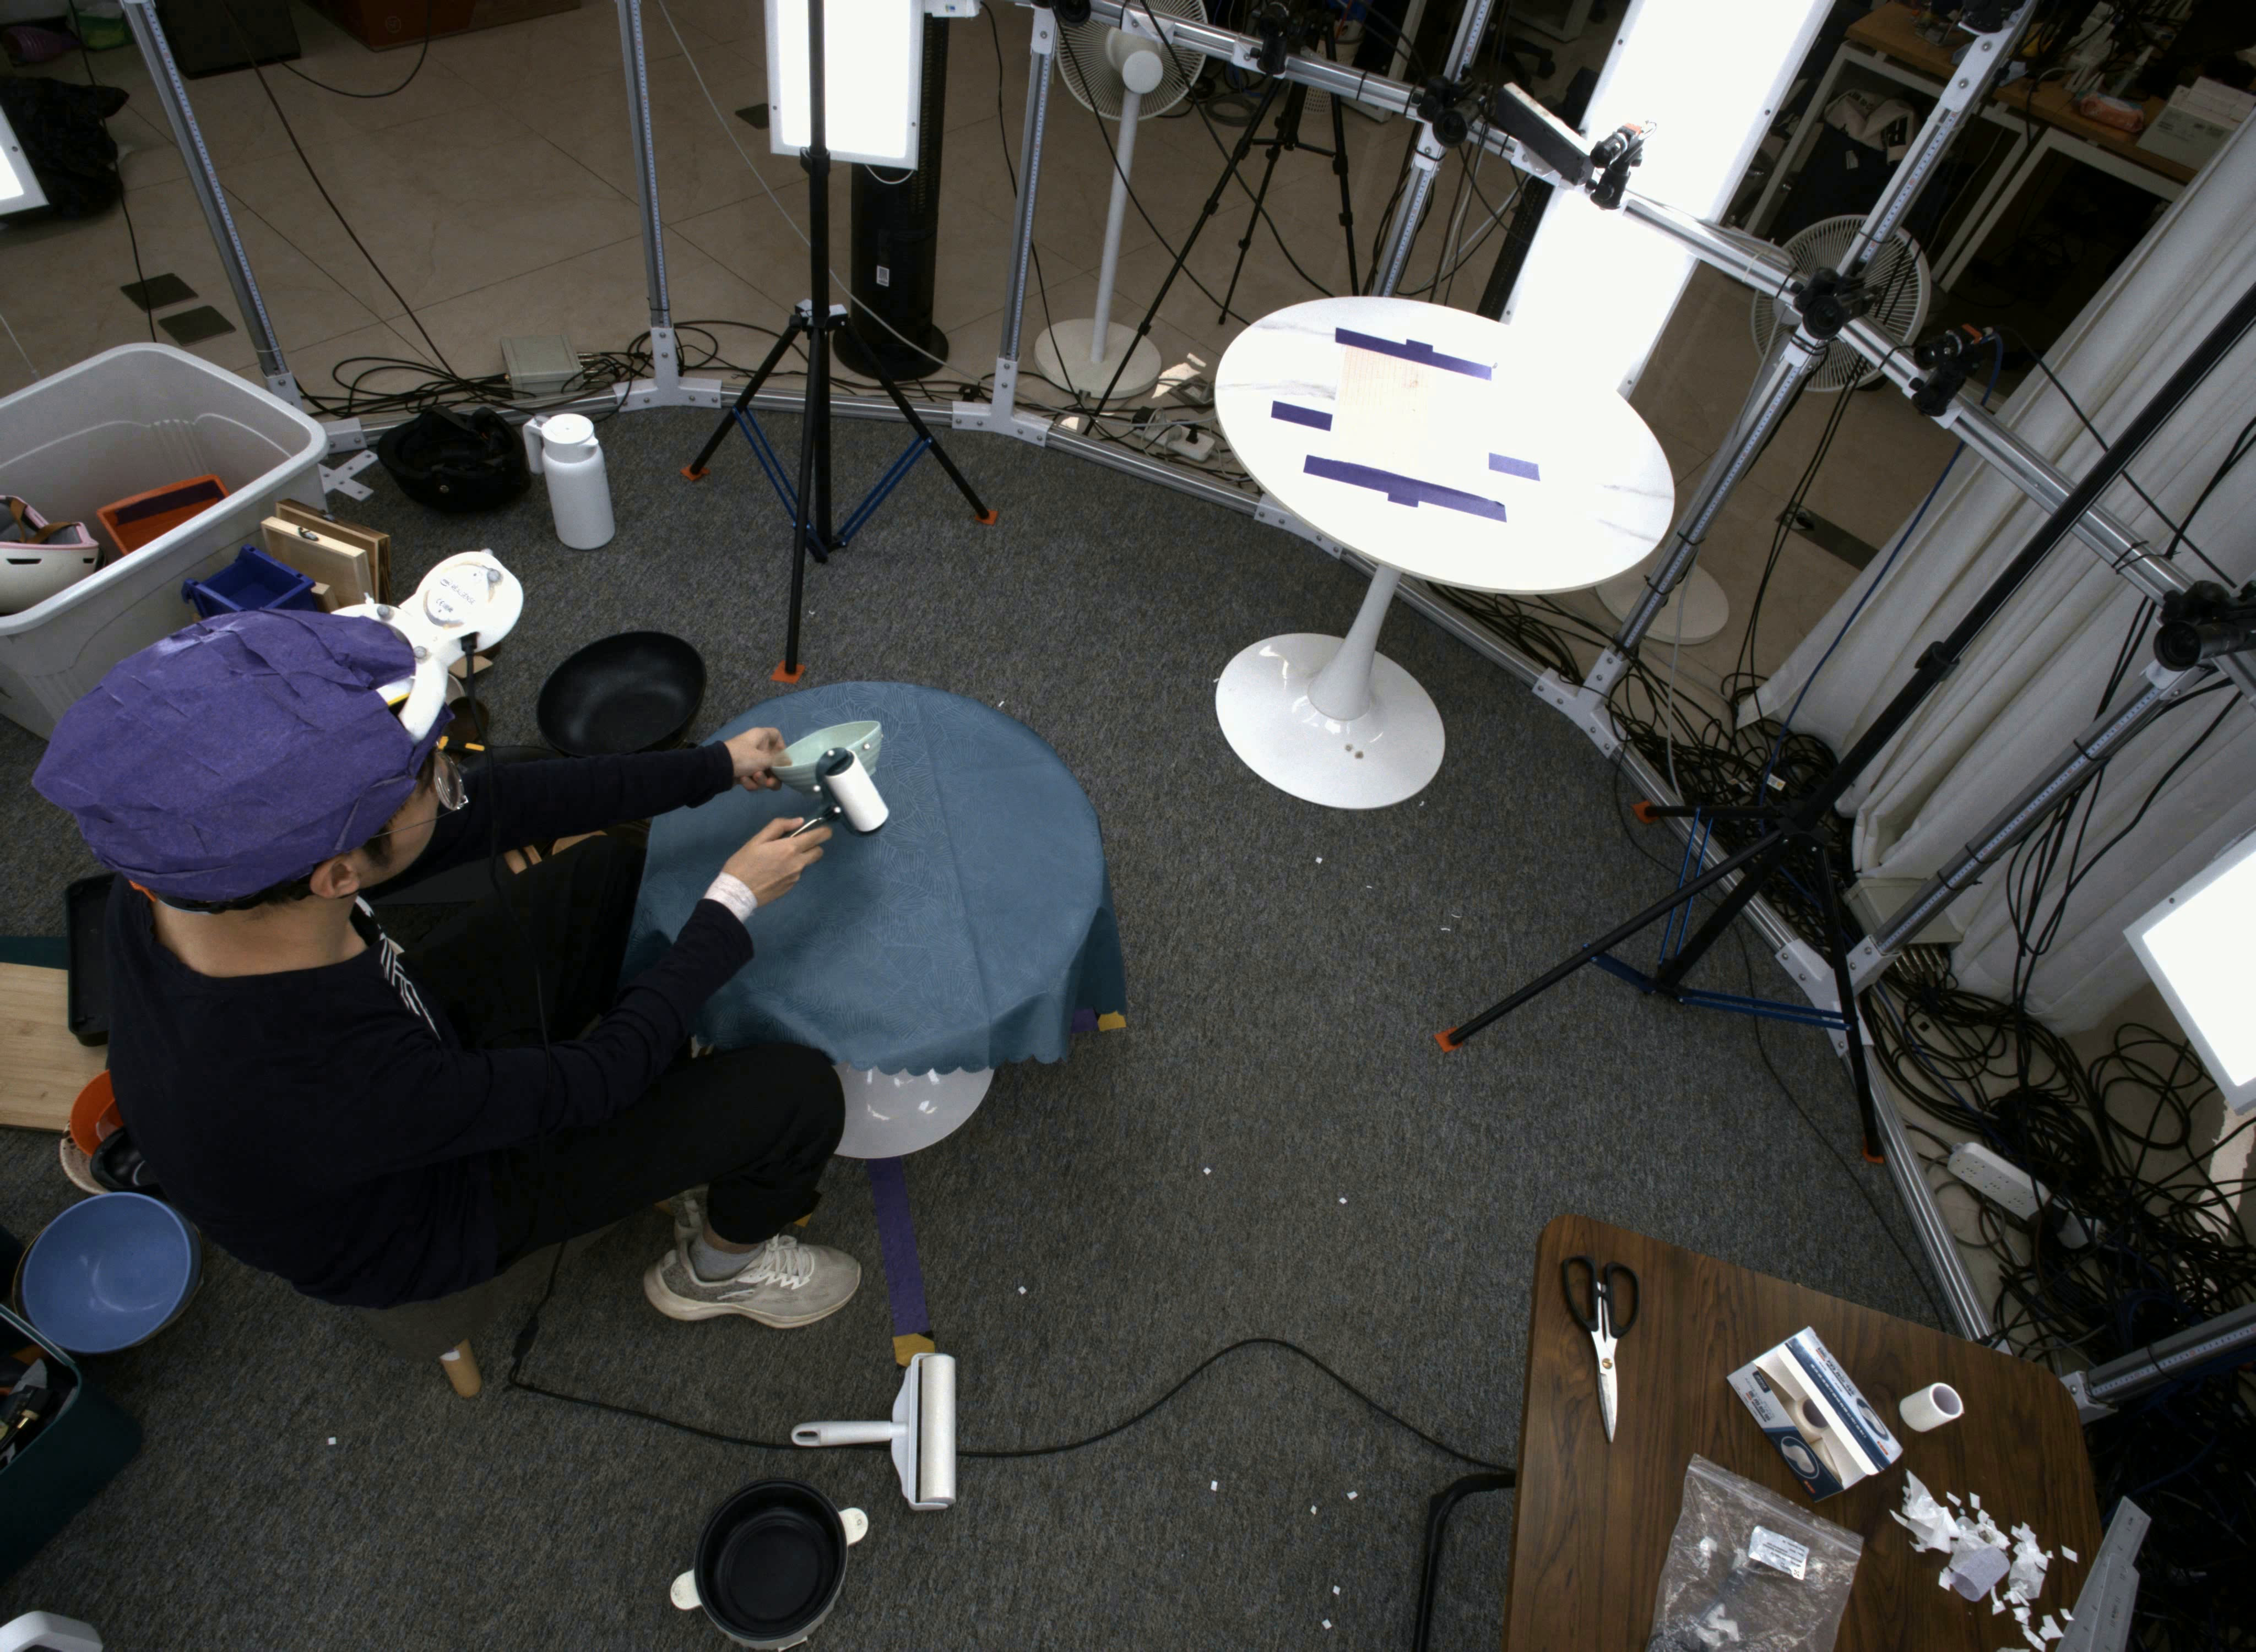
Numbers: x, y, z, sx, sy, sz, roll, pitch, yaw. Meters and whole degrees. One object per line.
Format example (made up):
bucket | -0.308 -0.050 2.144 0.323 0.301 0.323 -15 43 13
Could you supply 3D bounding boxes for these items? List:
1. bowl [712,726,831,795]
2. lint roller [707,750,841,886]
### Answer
bowl | -0.448 -0.081 1.648 0.149 0.060 0.149 -7 19 4
lint roller | -0.434 0.008 1.567 0.046 0.139 0.180 21 61 34
